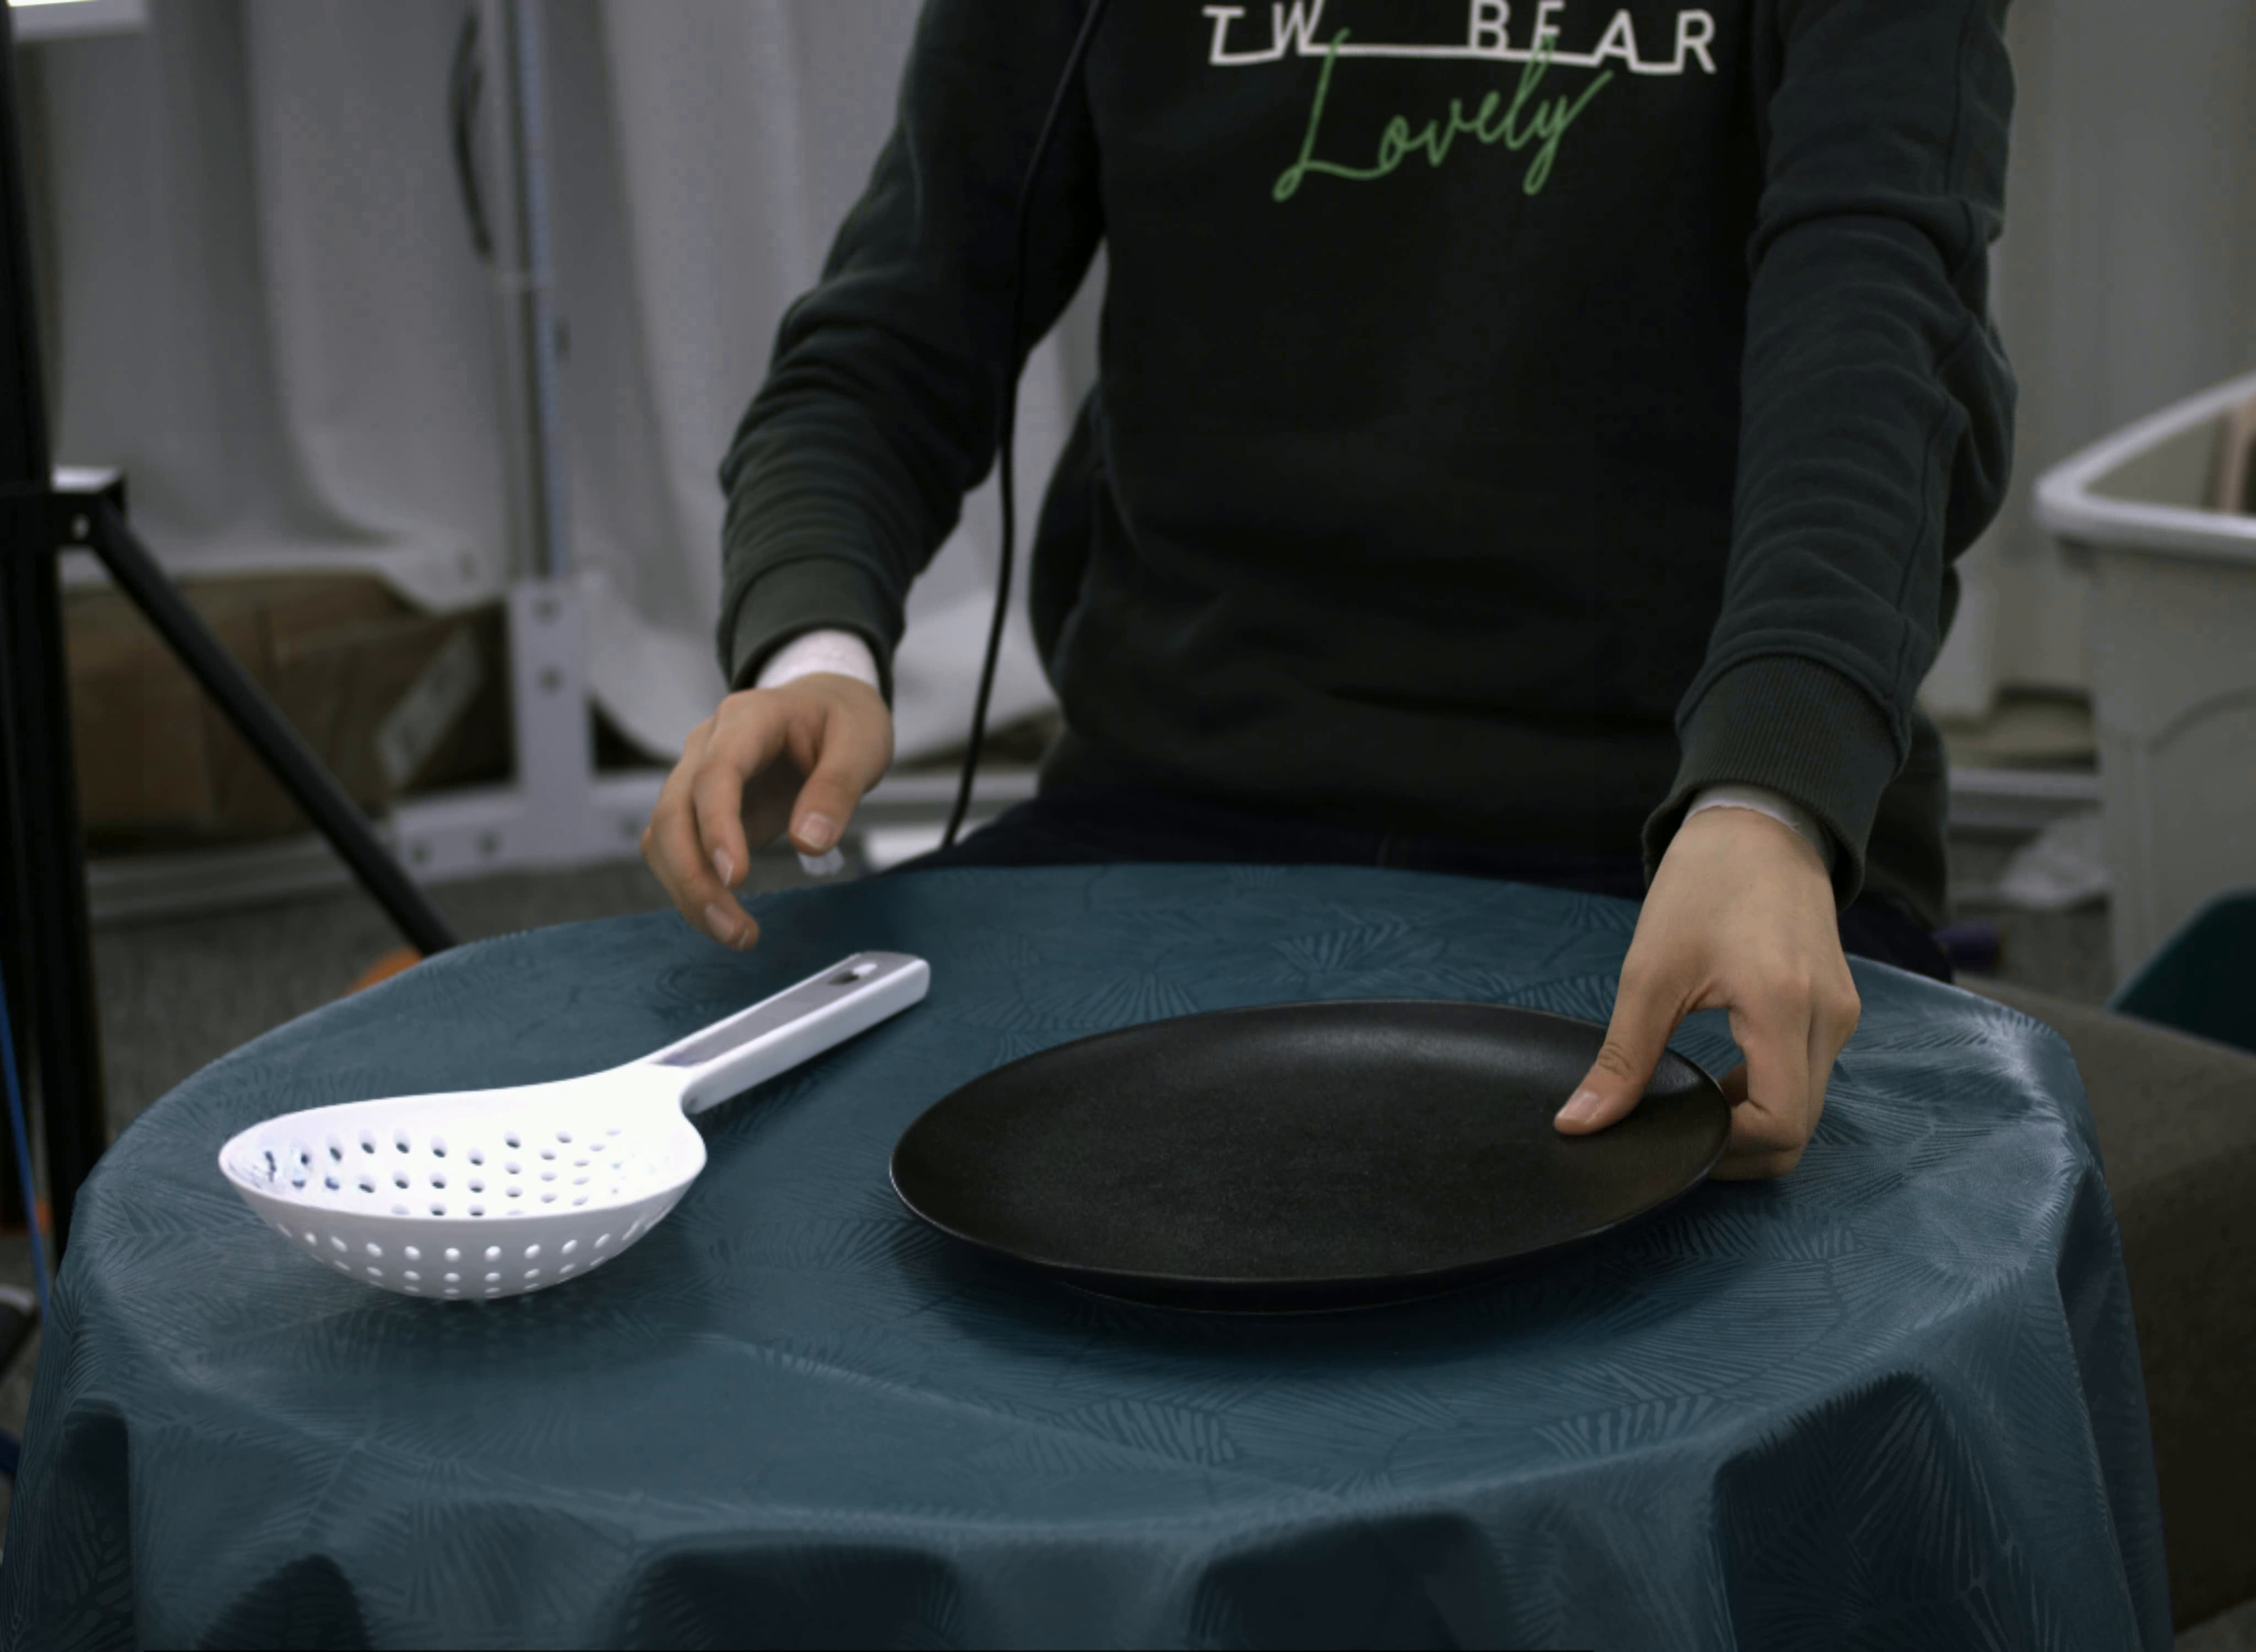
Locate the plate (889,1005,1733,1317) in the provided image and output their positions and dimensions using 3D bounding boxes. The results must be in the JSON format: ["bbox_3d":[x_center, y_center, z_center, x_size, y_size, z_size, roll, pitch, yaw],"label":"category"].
[{"bbox_3d":[0.053,0.099,1.530,0.243,0.023,0.245,-4,16,0],"label":"plate"}]

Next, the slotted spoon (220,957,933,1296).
[{"bbox_3d":[-0.144,0.080,1.597,0.138,0.046,0.344,7,17,23],"label":"slotted spoon"}]
